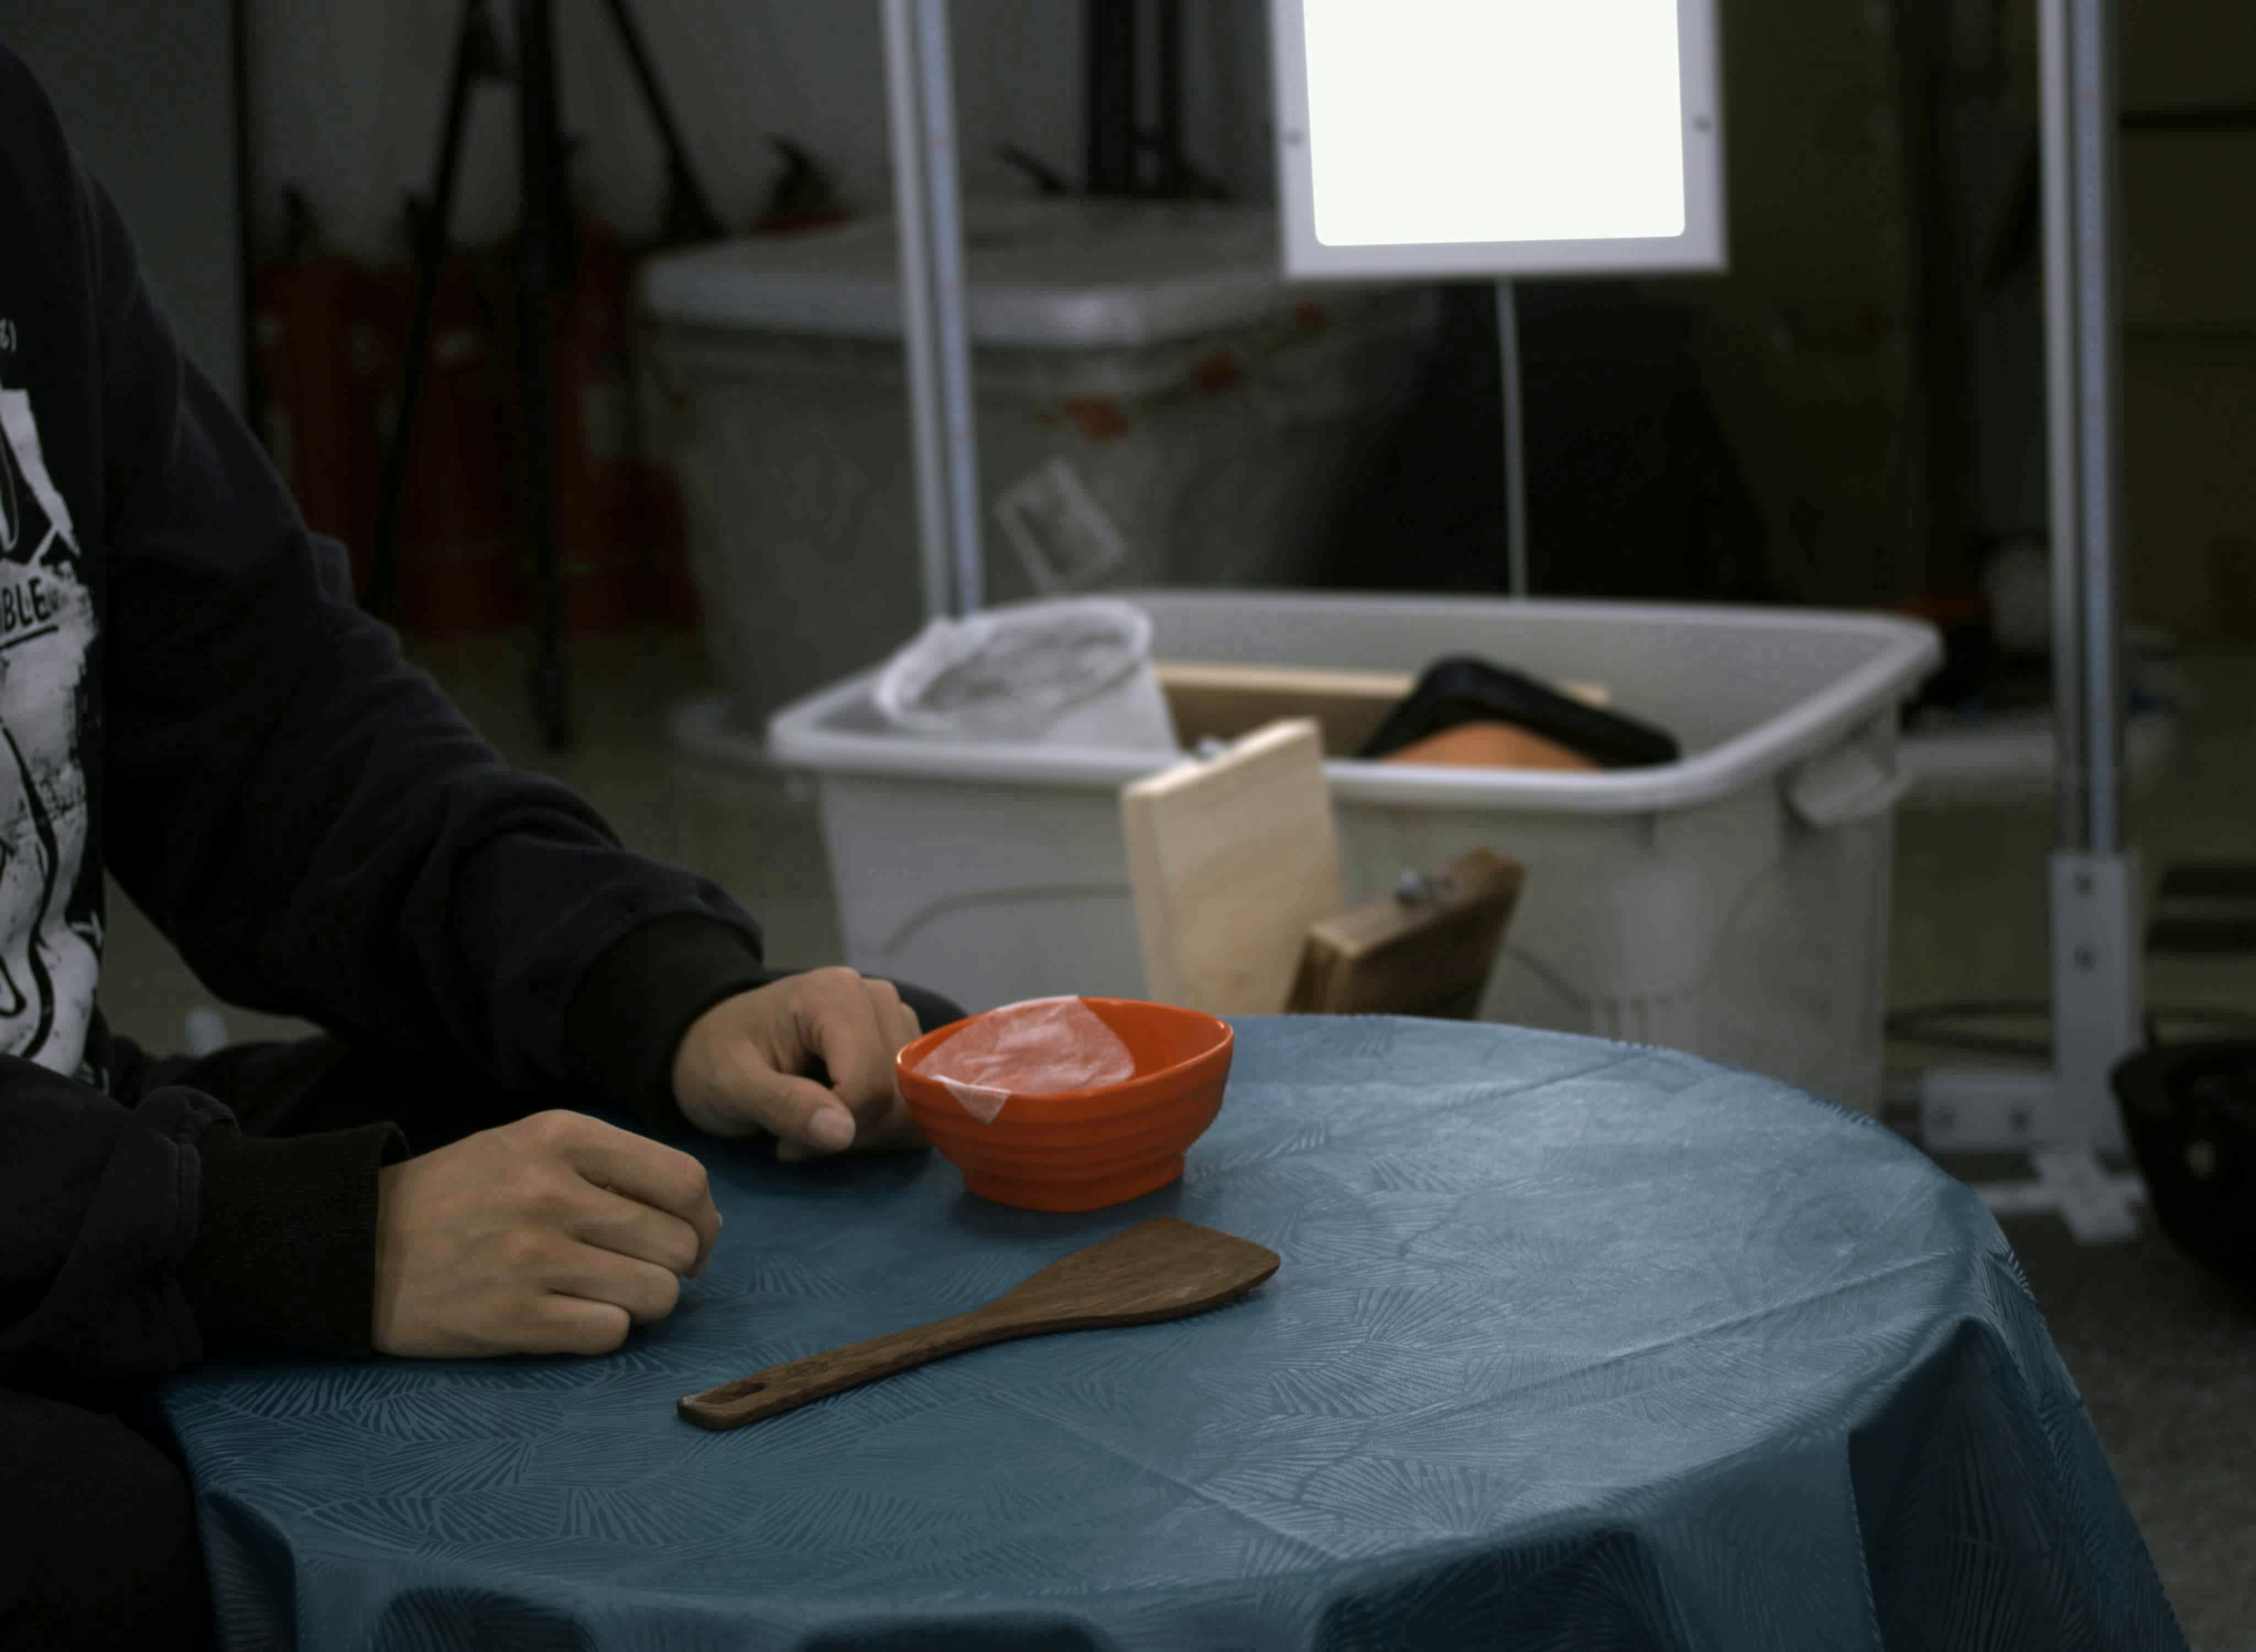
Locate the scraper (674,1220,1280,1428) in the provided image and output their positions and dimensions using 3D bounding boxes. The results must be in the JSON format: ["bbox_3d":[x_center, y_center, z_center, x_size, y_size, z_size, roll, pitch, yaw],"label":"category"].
[{"bbox_3d":[-0.050,0.161,1.759,0.206,0.011,0.077,-14,16,-31],"label":"scraper"}]

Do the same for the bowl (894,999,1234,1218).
[{"bbox_3d":[-0.021,0.100,1.911,0.118,0.051,0.119,-5,15,0],"label":"bowl"}]
